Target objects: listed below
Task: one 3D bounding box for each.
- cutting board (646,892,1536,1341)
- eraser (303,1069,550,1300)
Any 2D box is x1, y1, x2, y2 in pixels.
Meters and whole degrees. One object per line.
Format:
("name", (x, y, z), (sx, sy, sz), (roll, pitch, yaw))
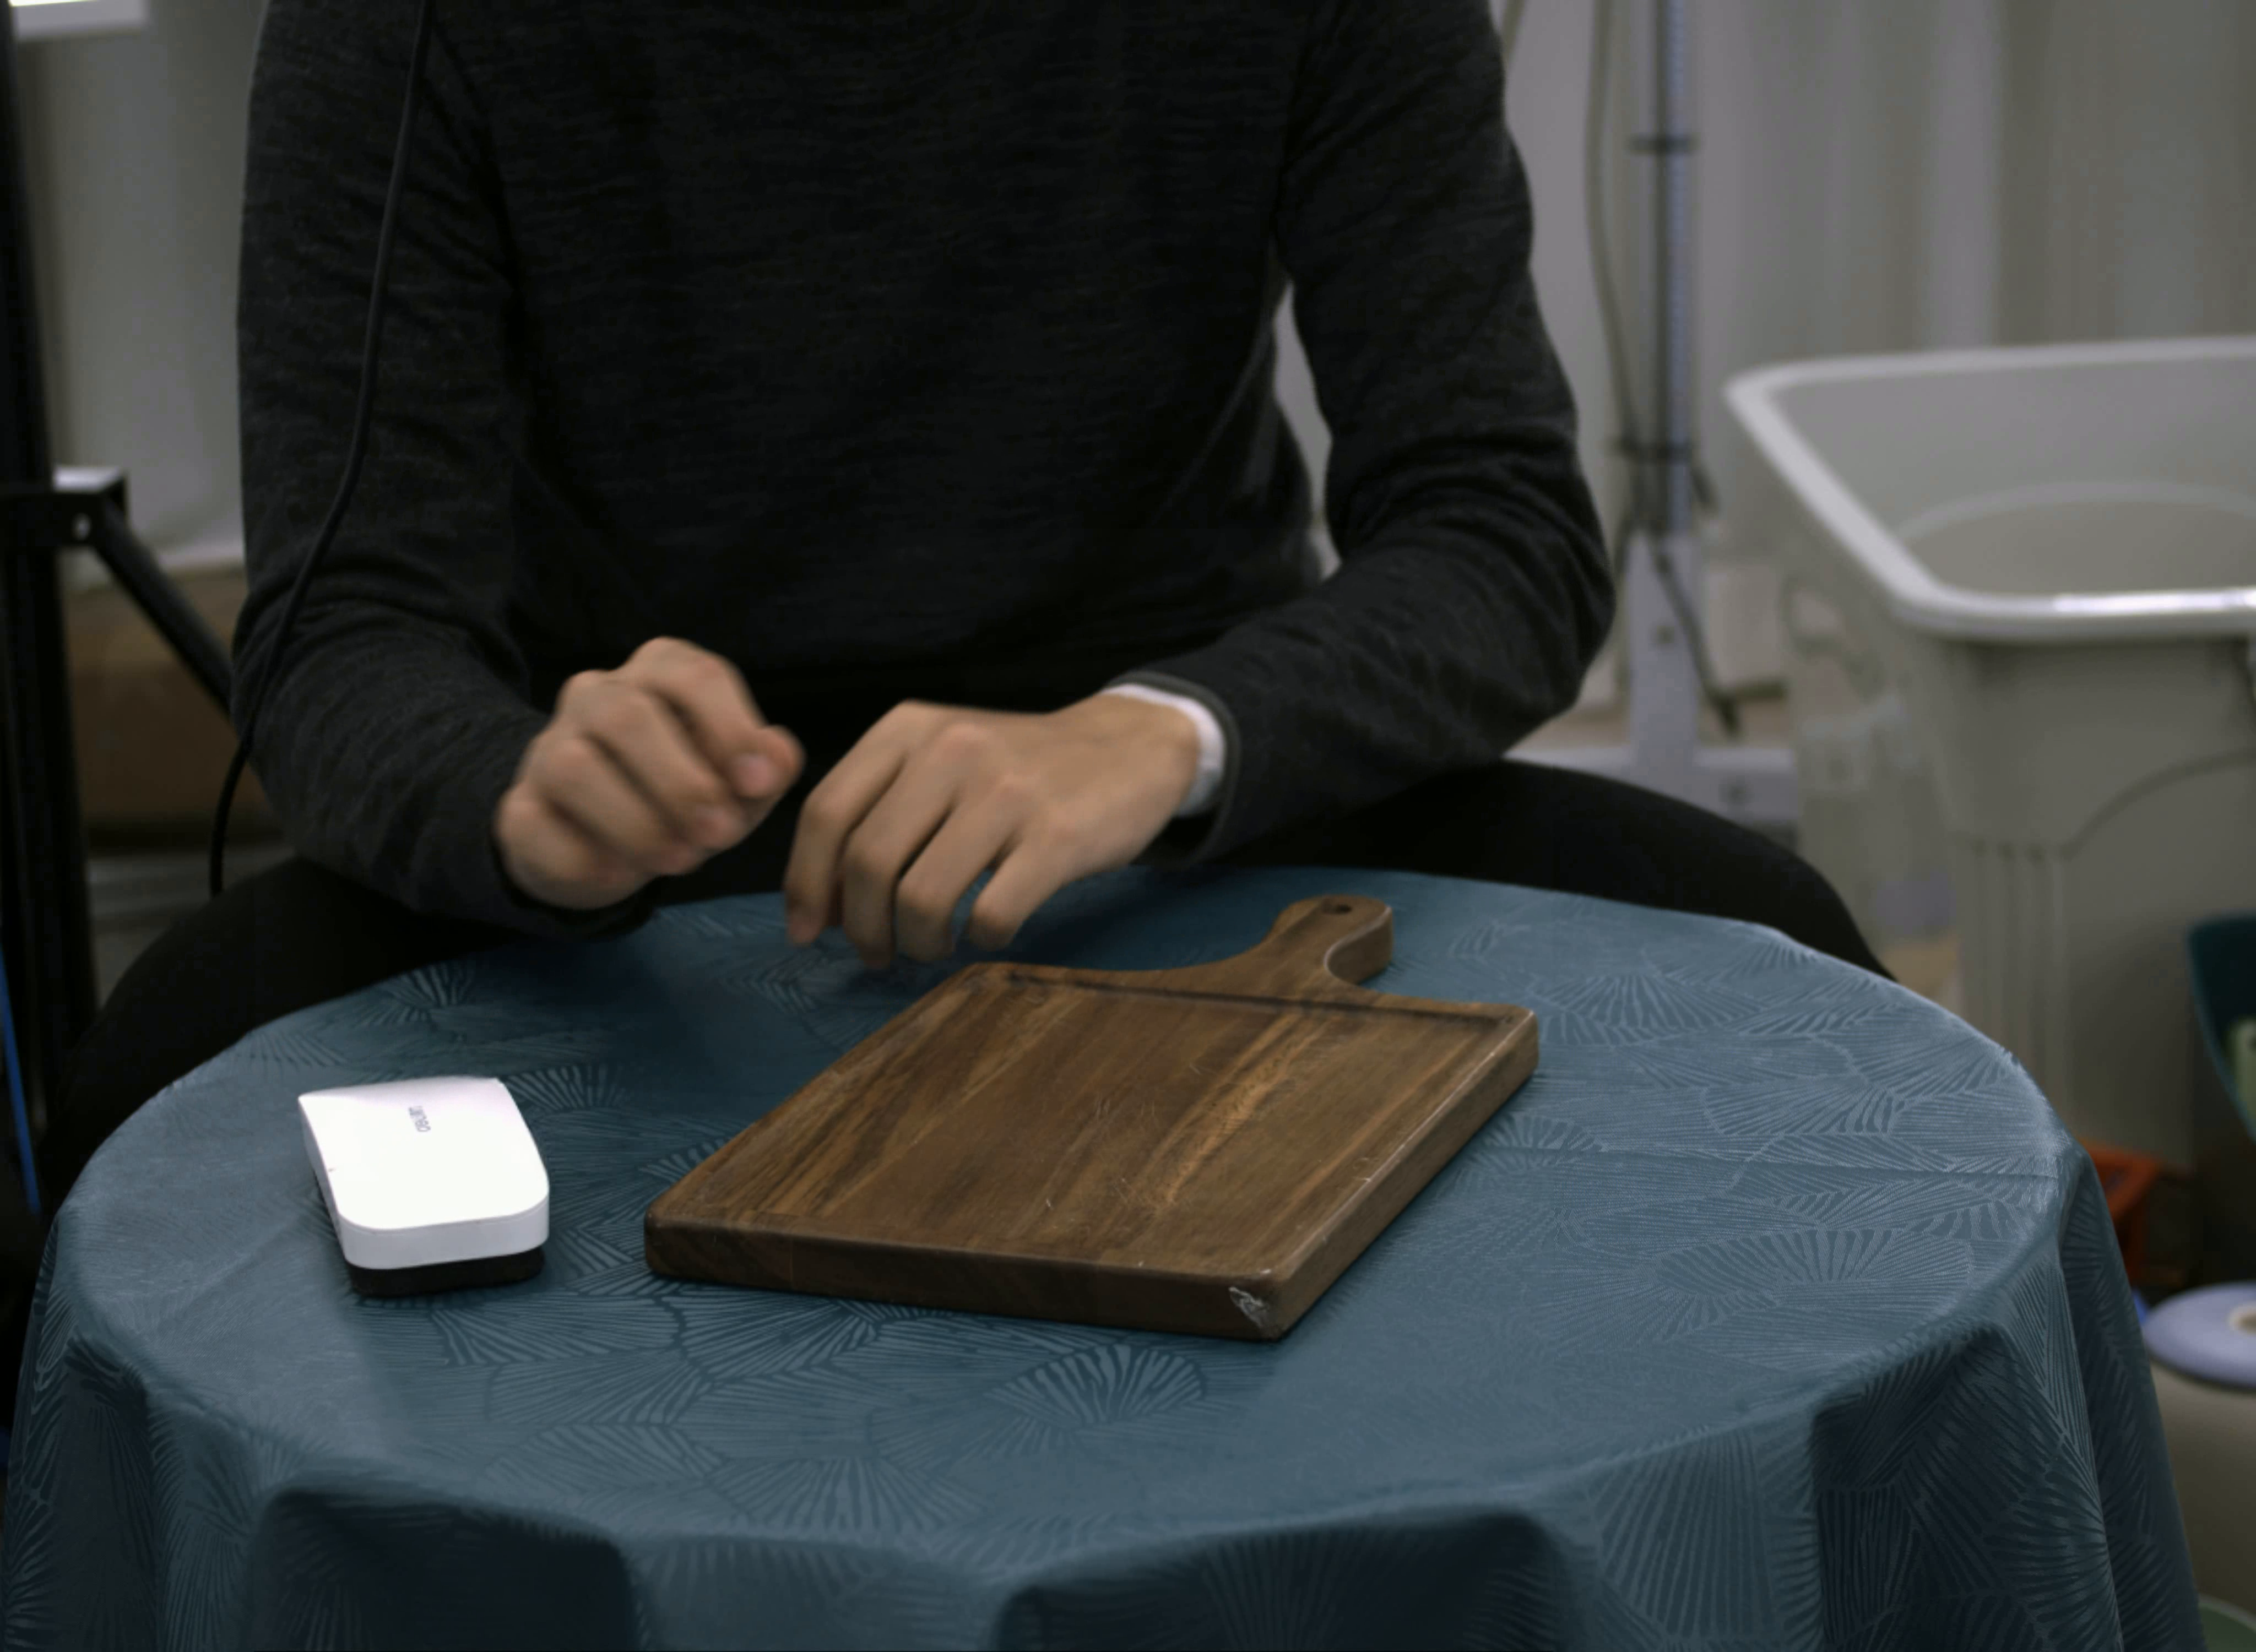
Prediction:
("cutting board", (0.012, 0.079, 1.620), (0.203, 0.023, 0.348), (4, 17, 21))
("eraser", (-0.204, 0.100, 1.561), (0.062, 0.034, 0.133), (-7, 17, -11))
